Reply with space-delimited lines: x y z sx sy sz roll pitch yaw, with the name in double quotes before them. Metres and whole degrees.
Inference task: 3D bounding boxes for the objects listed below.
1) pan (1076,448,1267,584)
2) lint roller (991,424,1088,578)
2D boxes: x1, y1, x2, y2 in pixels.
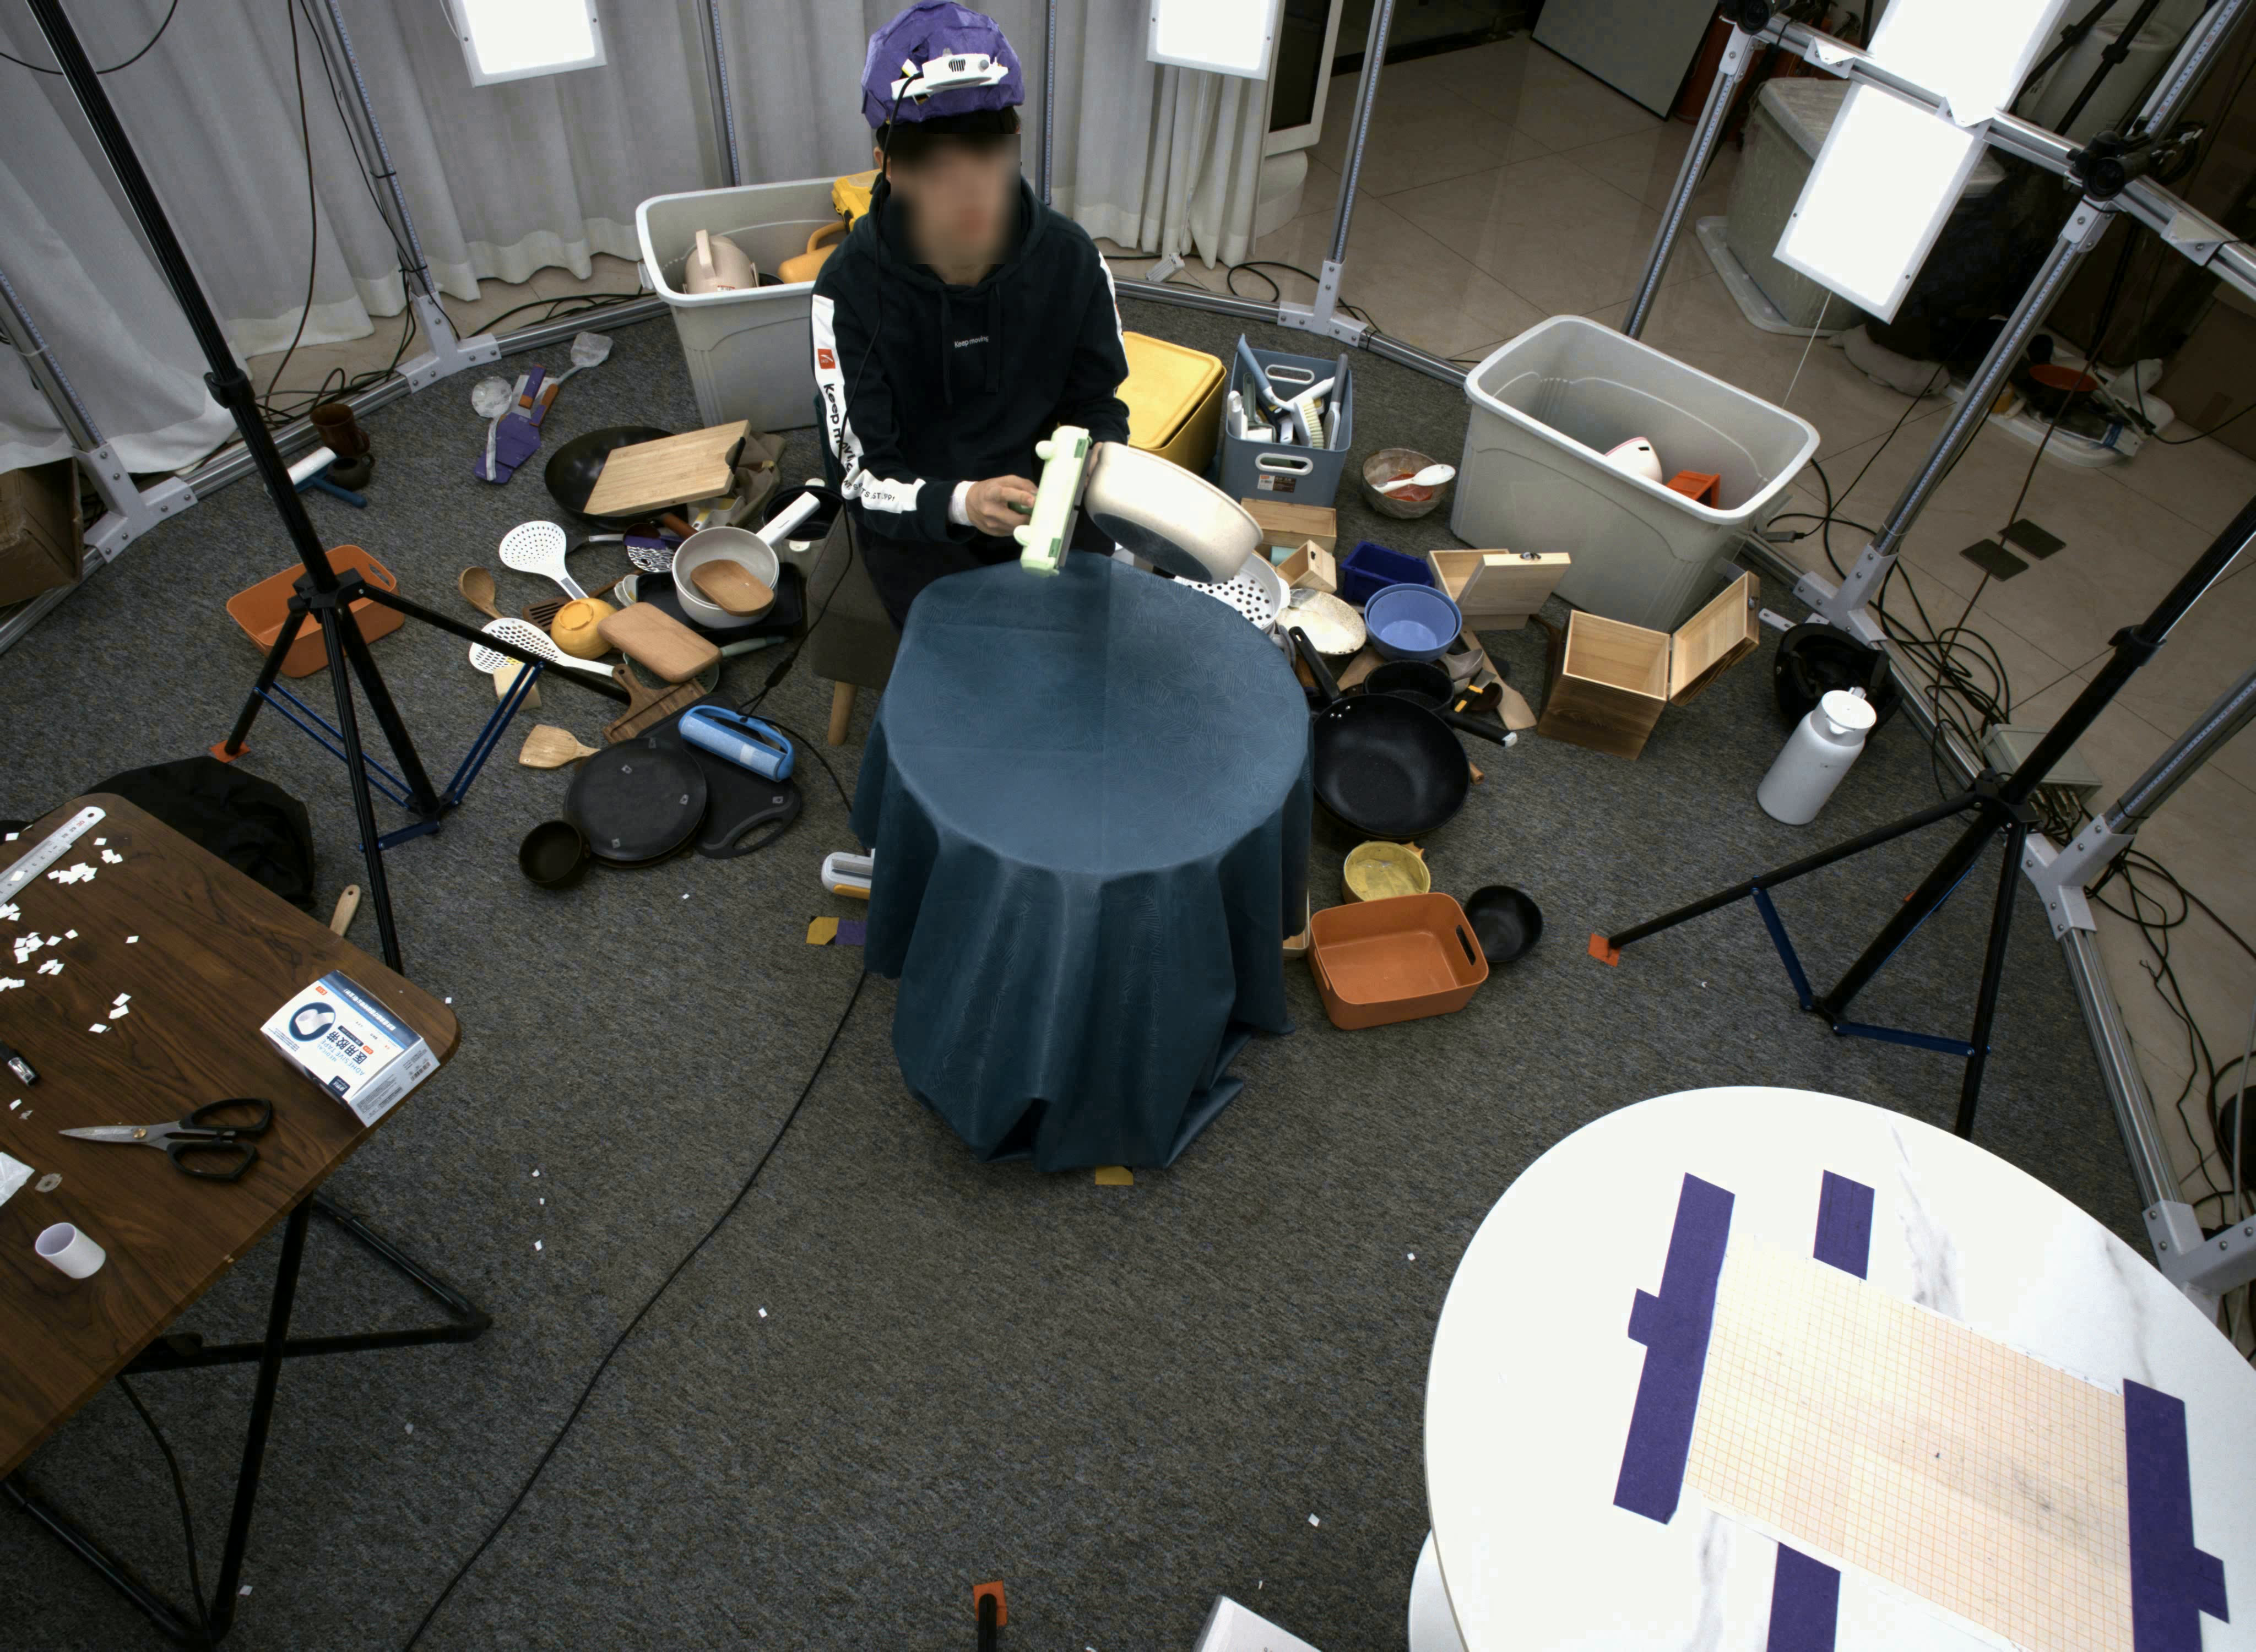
"pan" 0.014 -0.437 1.815 0.260 0.102 0.440 25 1 -34
"lint roller" -0.141 -0.434 1.723 0.185 0.081 0.199 10 84 43
